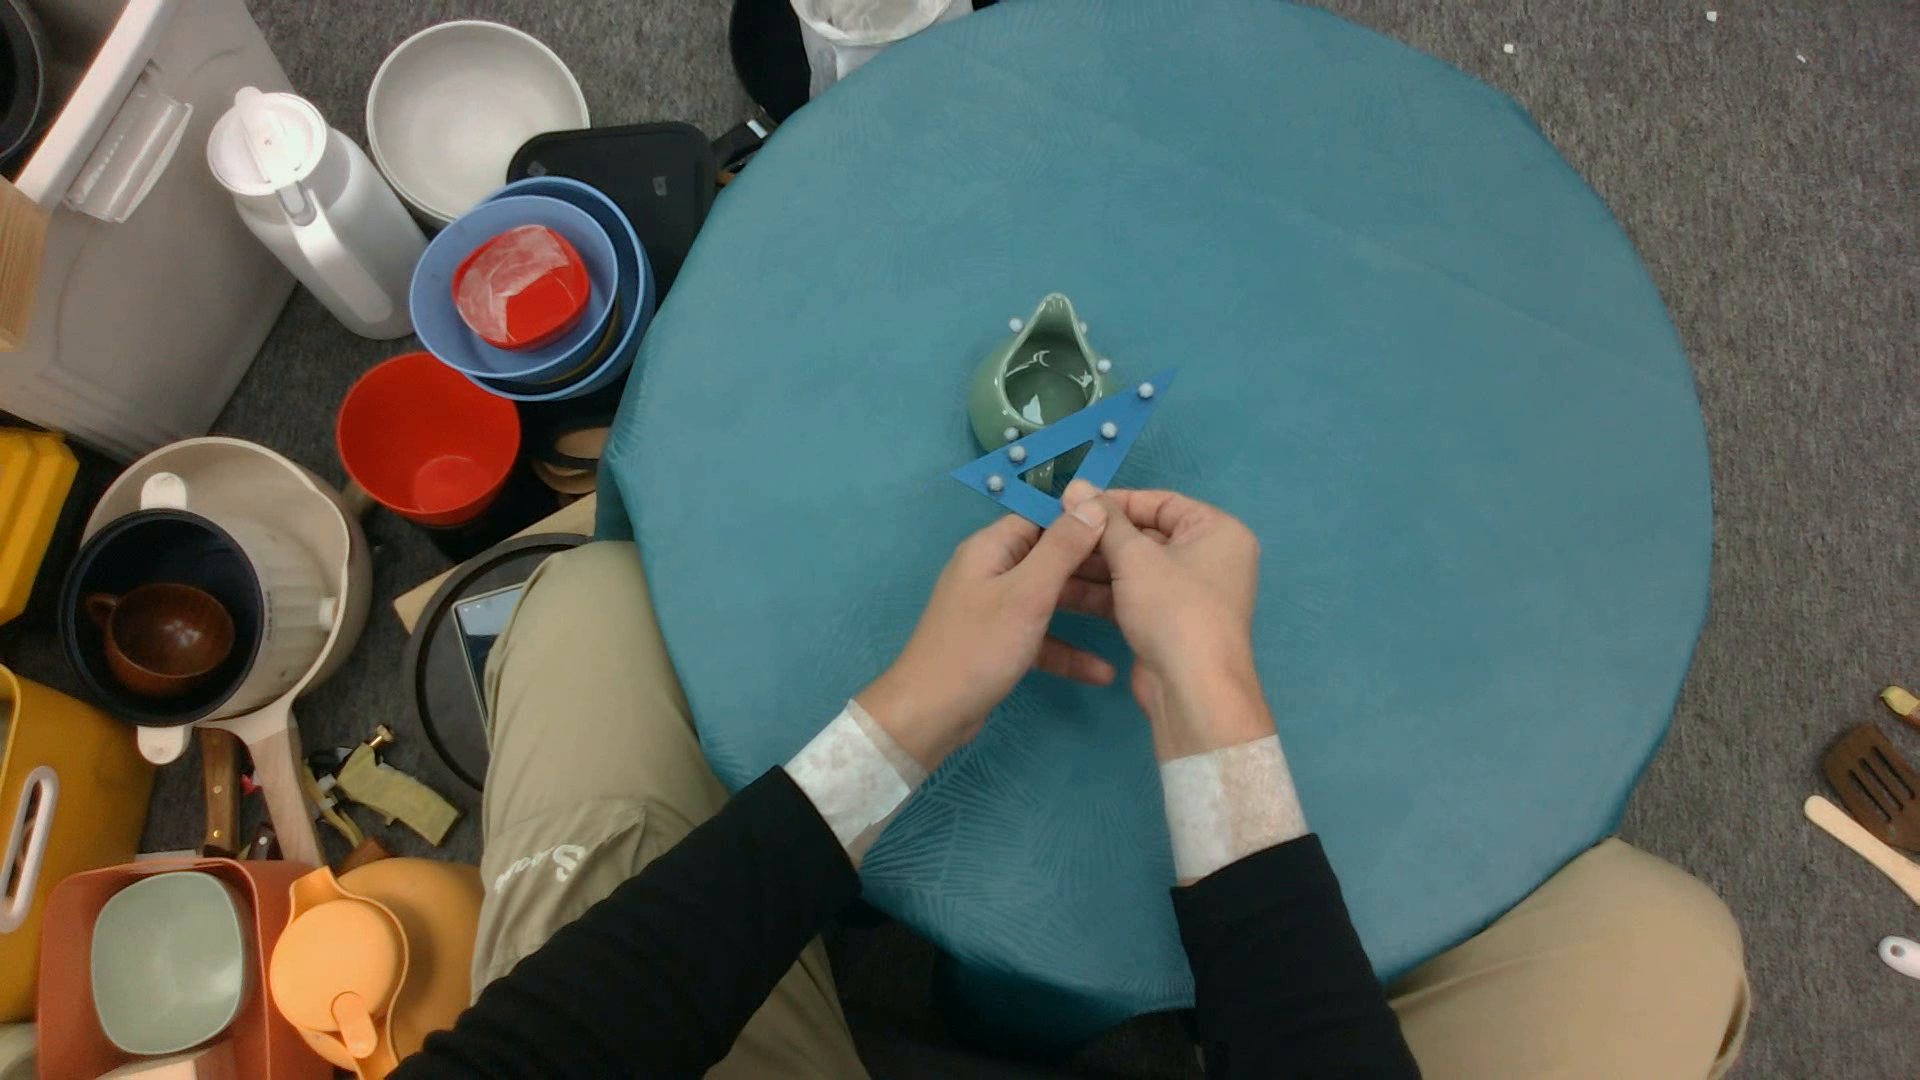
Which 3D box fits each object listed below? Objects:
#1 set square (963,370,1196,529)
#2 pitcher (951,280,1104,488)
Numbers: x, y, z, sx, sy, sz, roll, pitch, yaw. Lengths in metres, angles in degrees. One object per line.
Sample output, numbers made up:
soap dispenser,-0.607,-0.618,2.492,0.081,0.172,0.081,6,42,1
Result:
set square,0.072,-0.044,0.691,0.132,0.006,0.061,-23,69,-16
pitcher,0.037,-0.078,0.743,0.084,0.056,0.113,4,74,1
